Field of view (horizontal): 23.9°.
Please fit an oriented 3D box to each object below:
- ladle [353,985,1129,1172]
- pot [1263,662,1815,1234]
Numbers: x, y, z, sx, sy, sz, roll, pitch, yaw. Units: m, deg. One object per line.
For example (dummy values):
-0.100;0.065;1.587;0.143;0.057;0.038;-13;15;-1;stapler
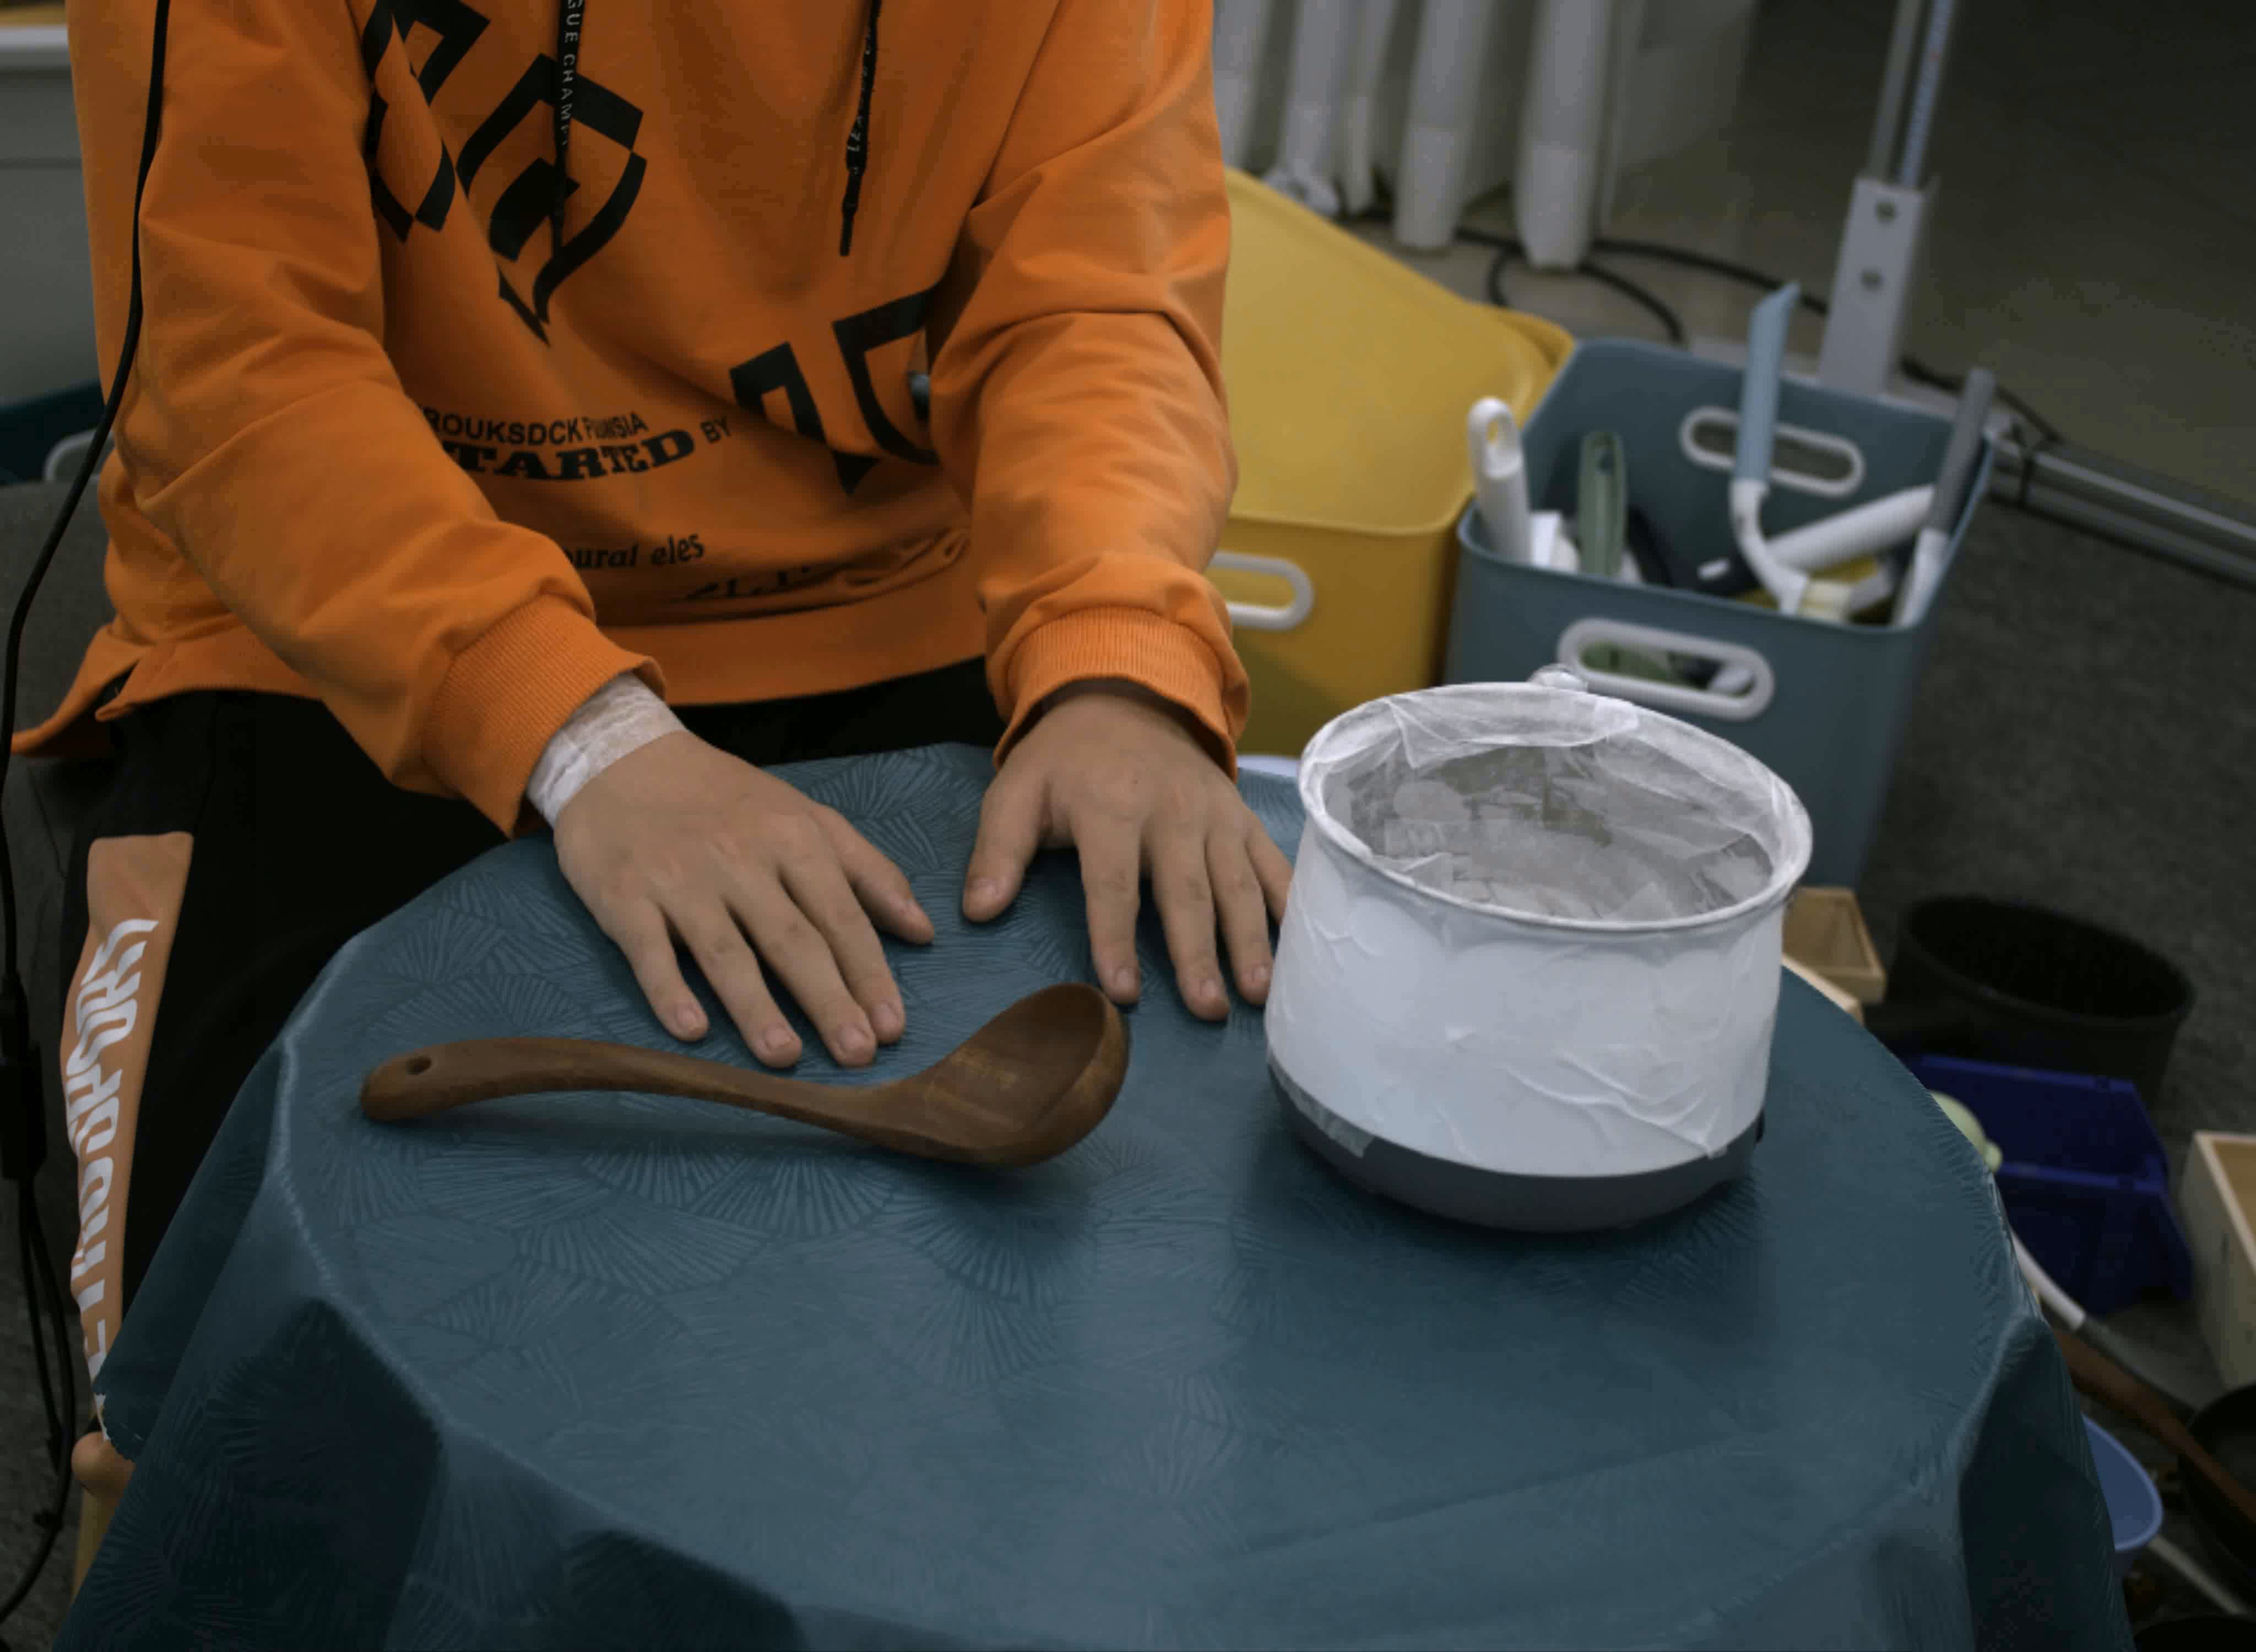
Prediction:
-0.130;0.079;1.792;0.259;0.065;0.077;5;28;-4;ladle
0.140;0.035;1.857;0.178;0.136;0.235;7;27;1;pot
